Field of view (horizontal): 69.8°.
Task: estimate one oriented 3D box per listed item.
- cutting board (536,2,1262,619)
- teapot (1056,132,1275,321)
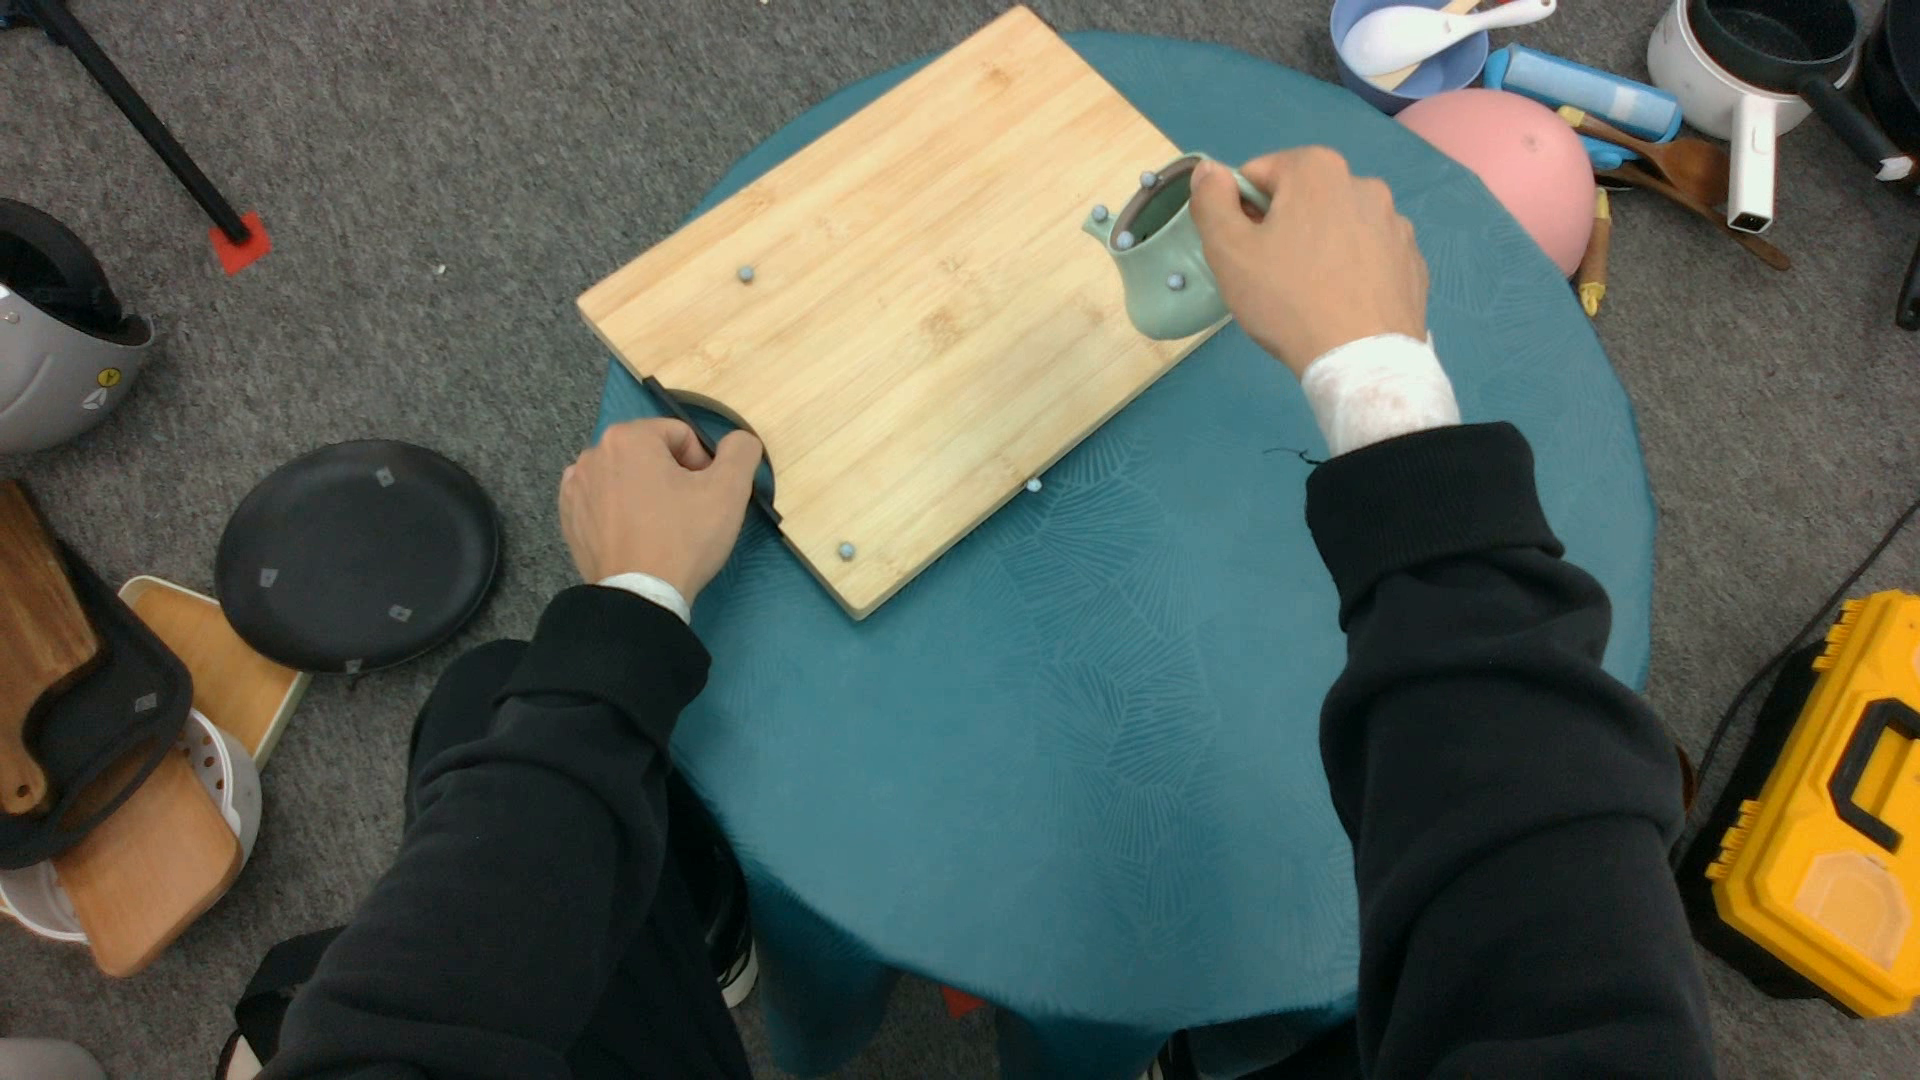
[{"bbox_3d":[-0.025,-0.149,0.792,0.350,0.023,0.251,-41,77,-19],"label":"cutting board"},{"bbox_3d":[0.104,-0.154,0.656,0.061,0.136,0.096,38,75,-24],"label":"teapot"}]
